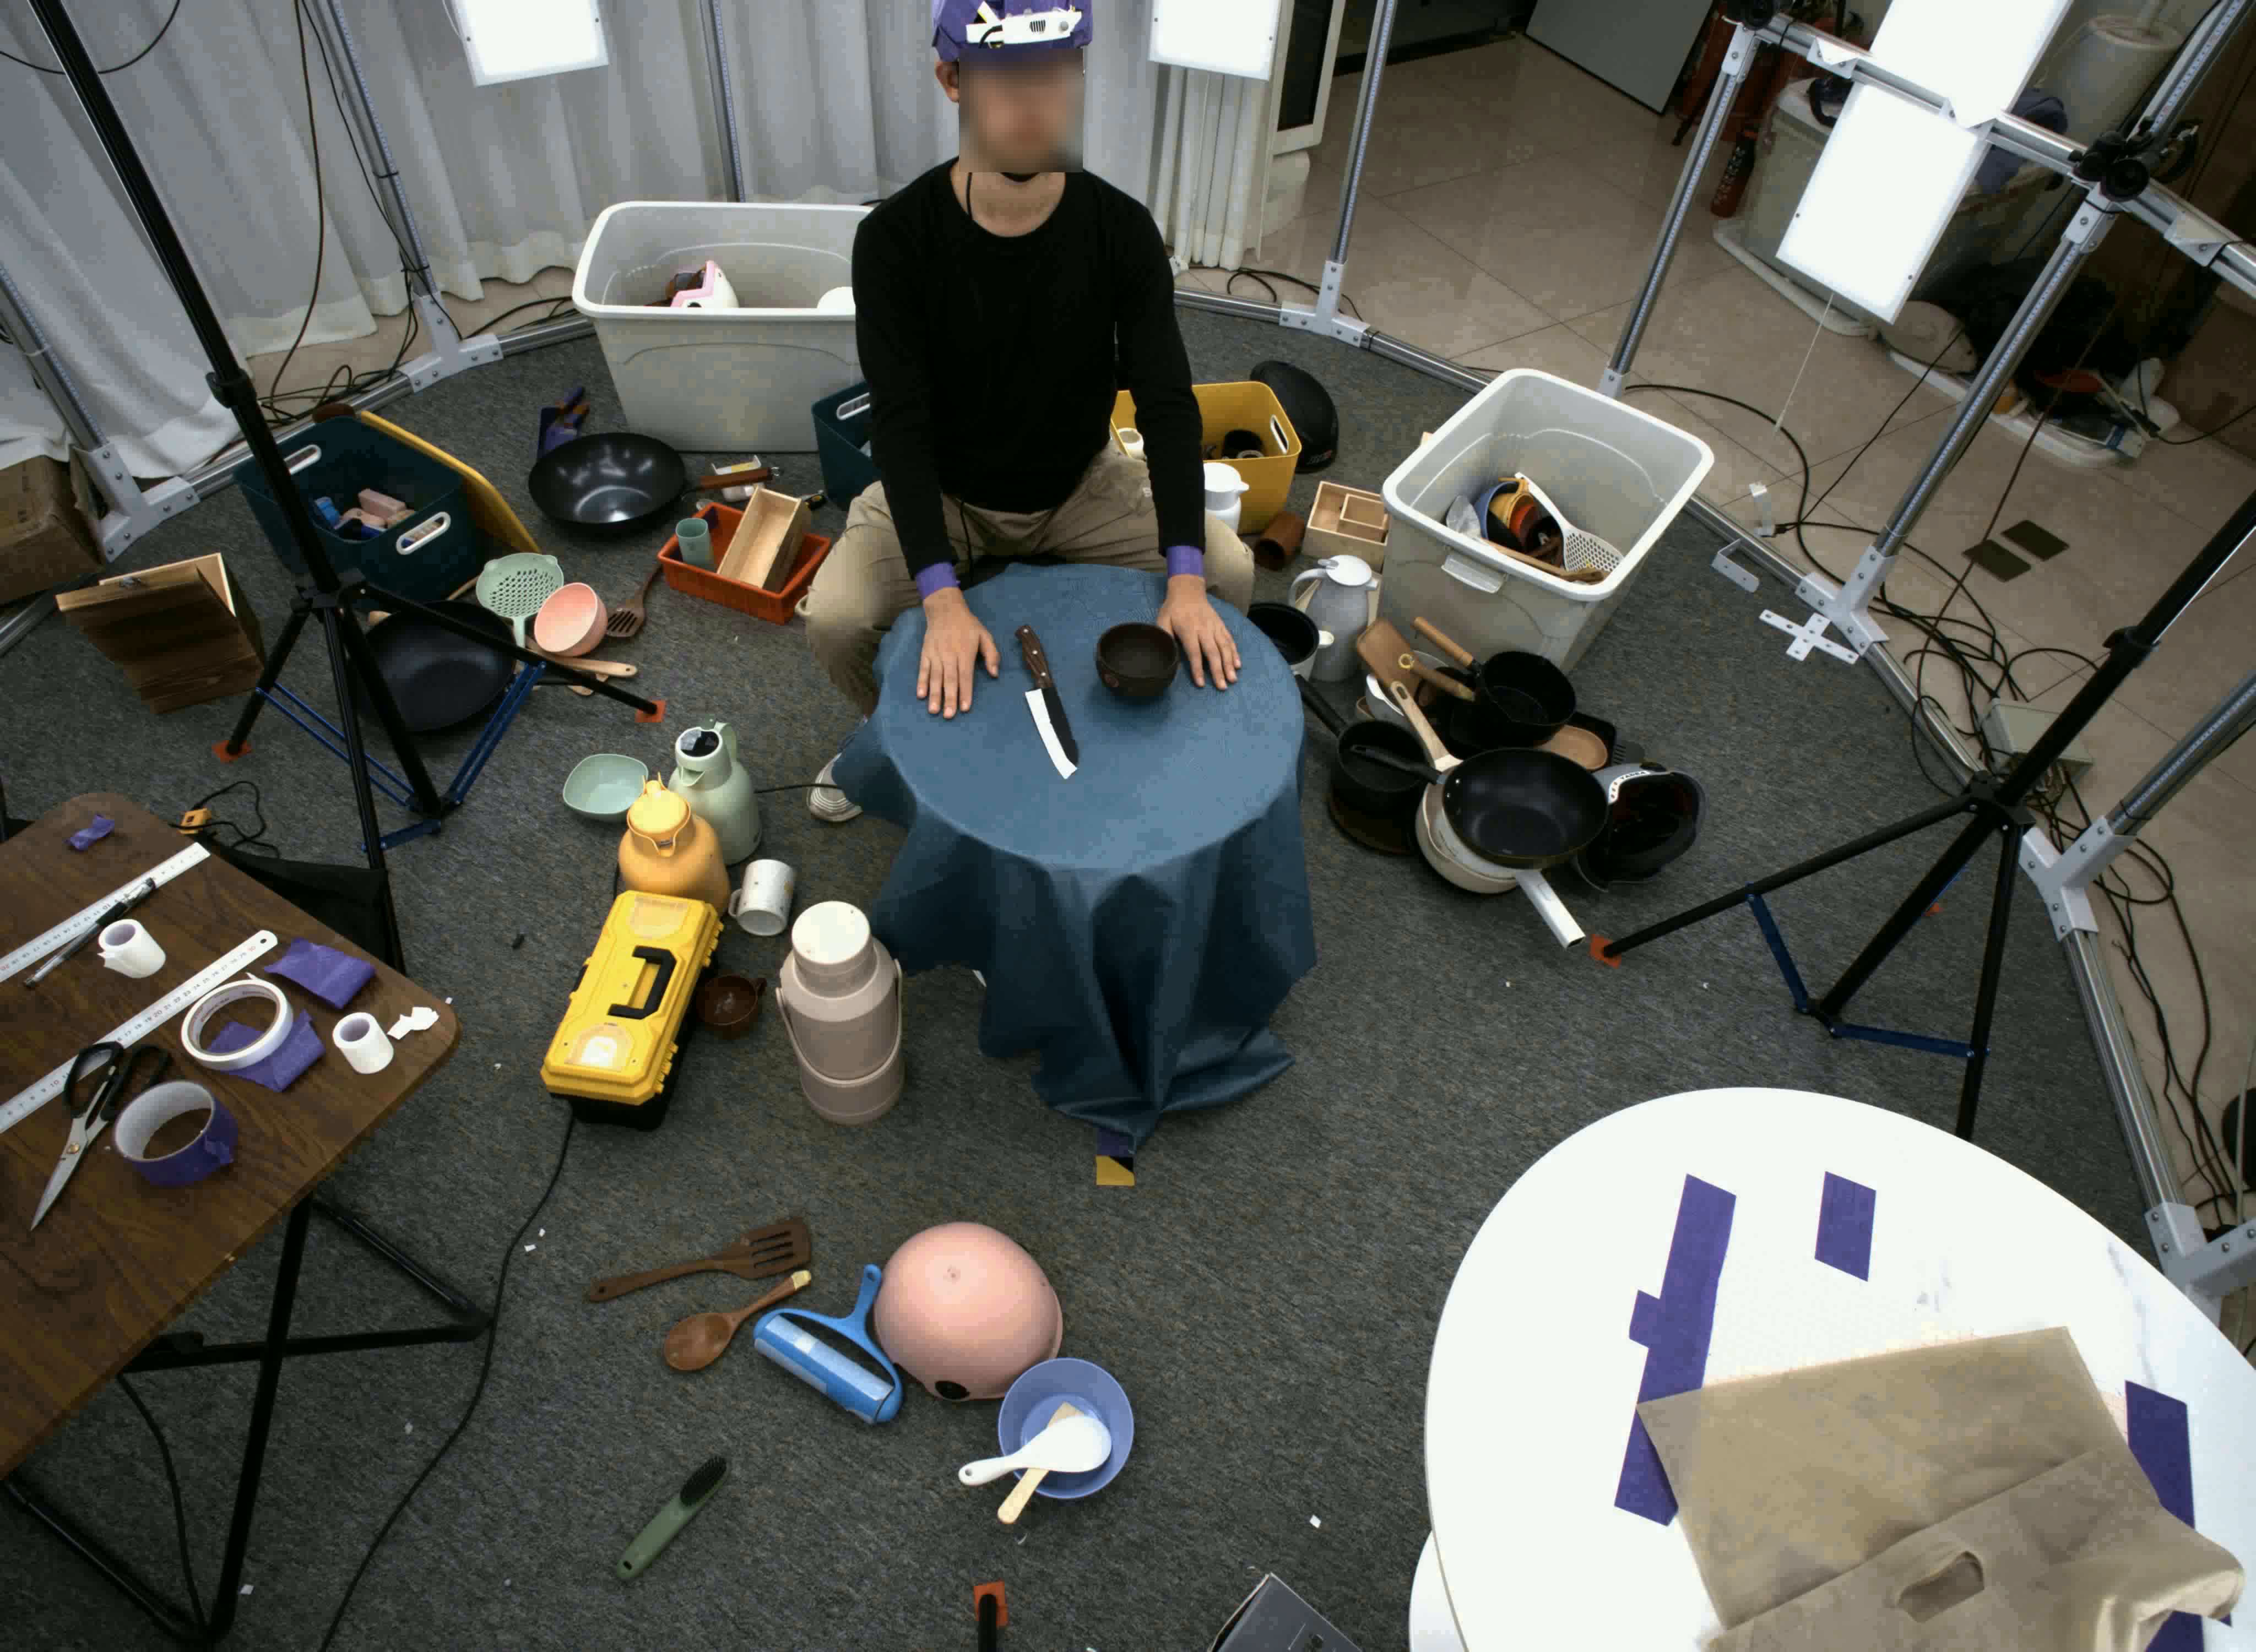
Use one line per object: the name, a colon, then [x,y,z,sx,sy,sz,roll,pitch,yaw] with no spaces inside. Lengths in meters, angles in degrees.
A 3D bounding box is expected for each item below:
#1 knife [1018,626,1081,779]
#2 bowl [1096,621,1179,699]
knife: [-0.114,-0.177,1.806,0.050,0.019,0.296,-12,53,-8]
bowl: [0.012,-0.227,1.820,0.118,0.068,0.121,2,49,-2]
